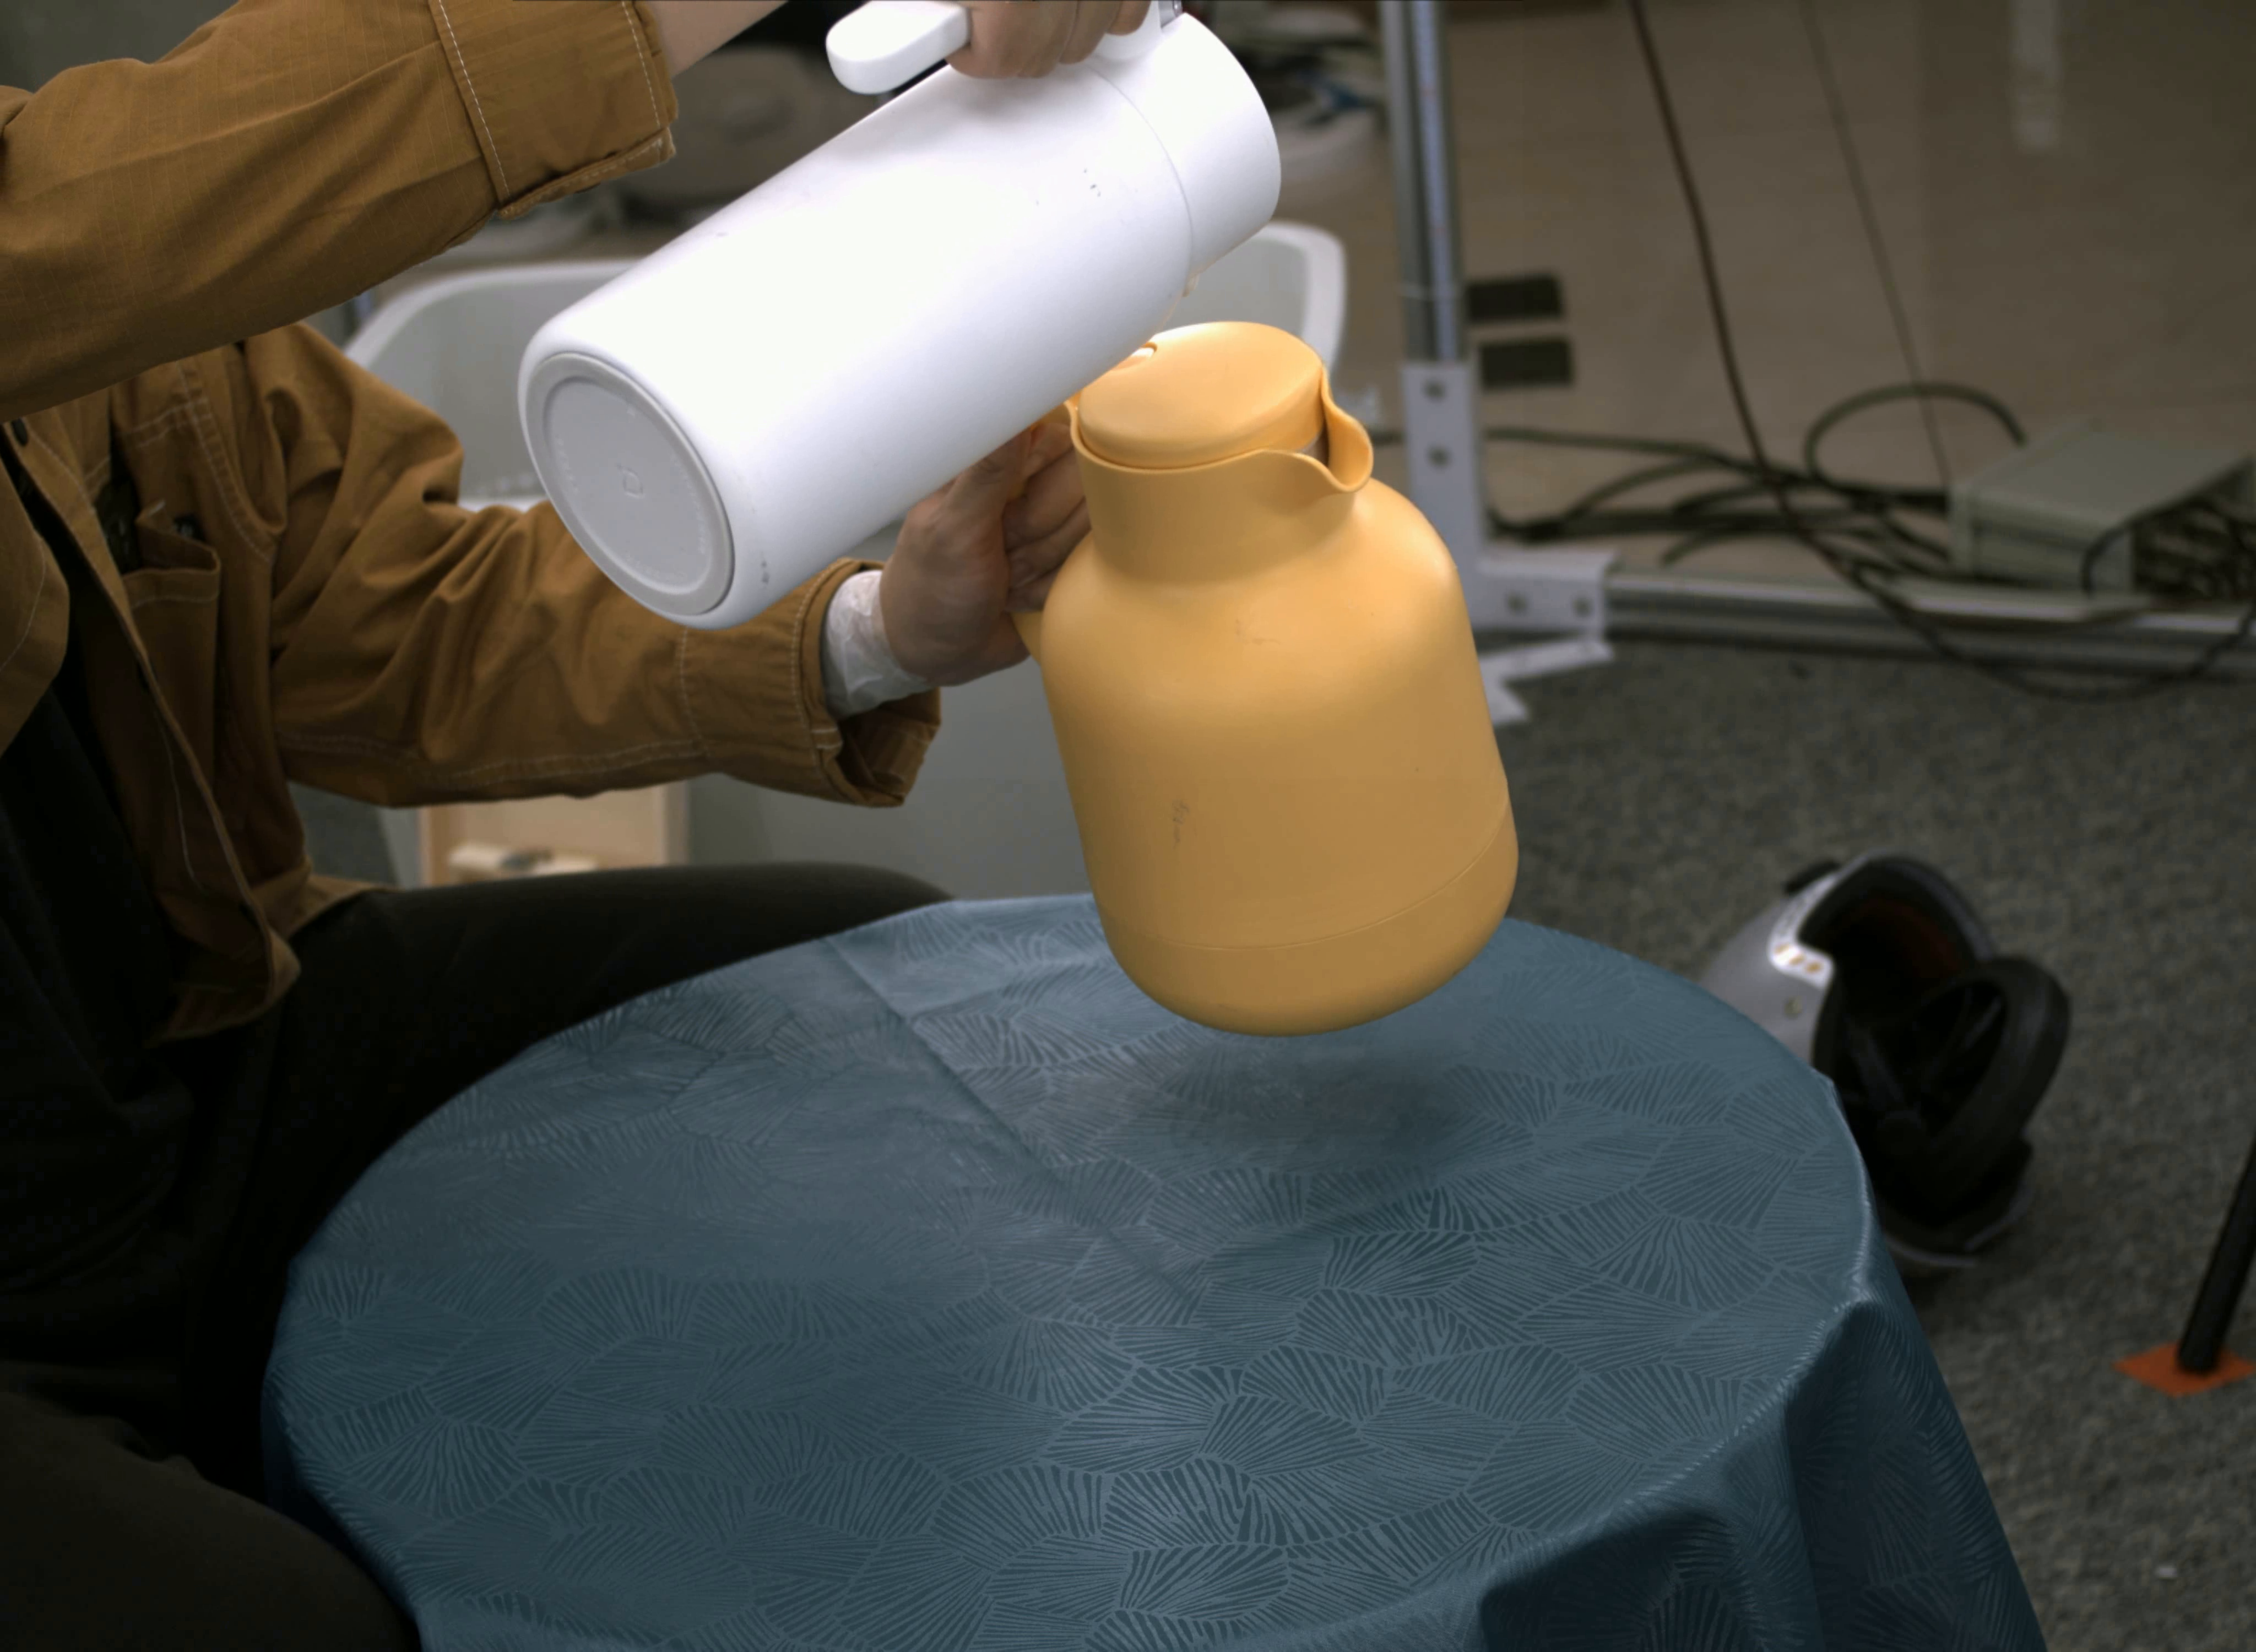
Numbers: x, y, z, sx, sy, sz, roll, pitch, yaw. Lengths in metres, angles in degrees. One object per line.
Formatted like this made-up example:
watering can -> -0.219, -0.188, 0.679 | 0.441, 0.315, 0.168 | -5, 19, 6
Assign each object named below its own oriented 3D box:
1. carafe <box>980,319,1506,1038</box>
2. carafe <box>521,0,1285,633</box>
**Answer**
carafe -> 0.035, -0.066, 2.119 | 0.200, 0.265, 0.162 | 23, 46, 40
carafe -> -0.072, -0.191, 1.887 | 0.266, 0.176, 0.122 | -36, 50, -29
